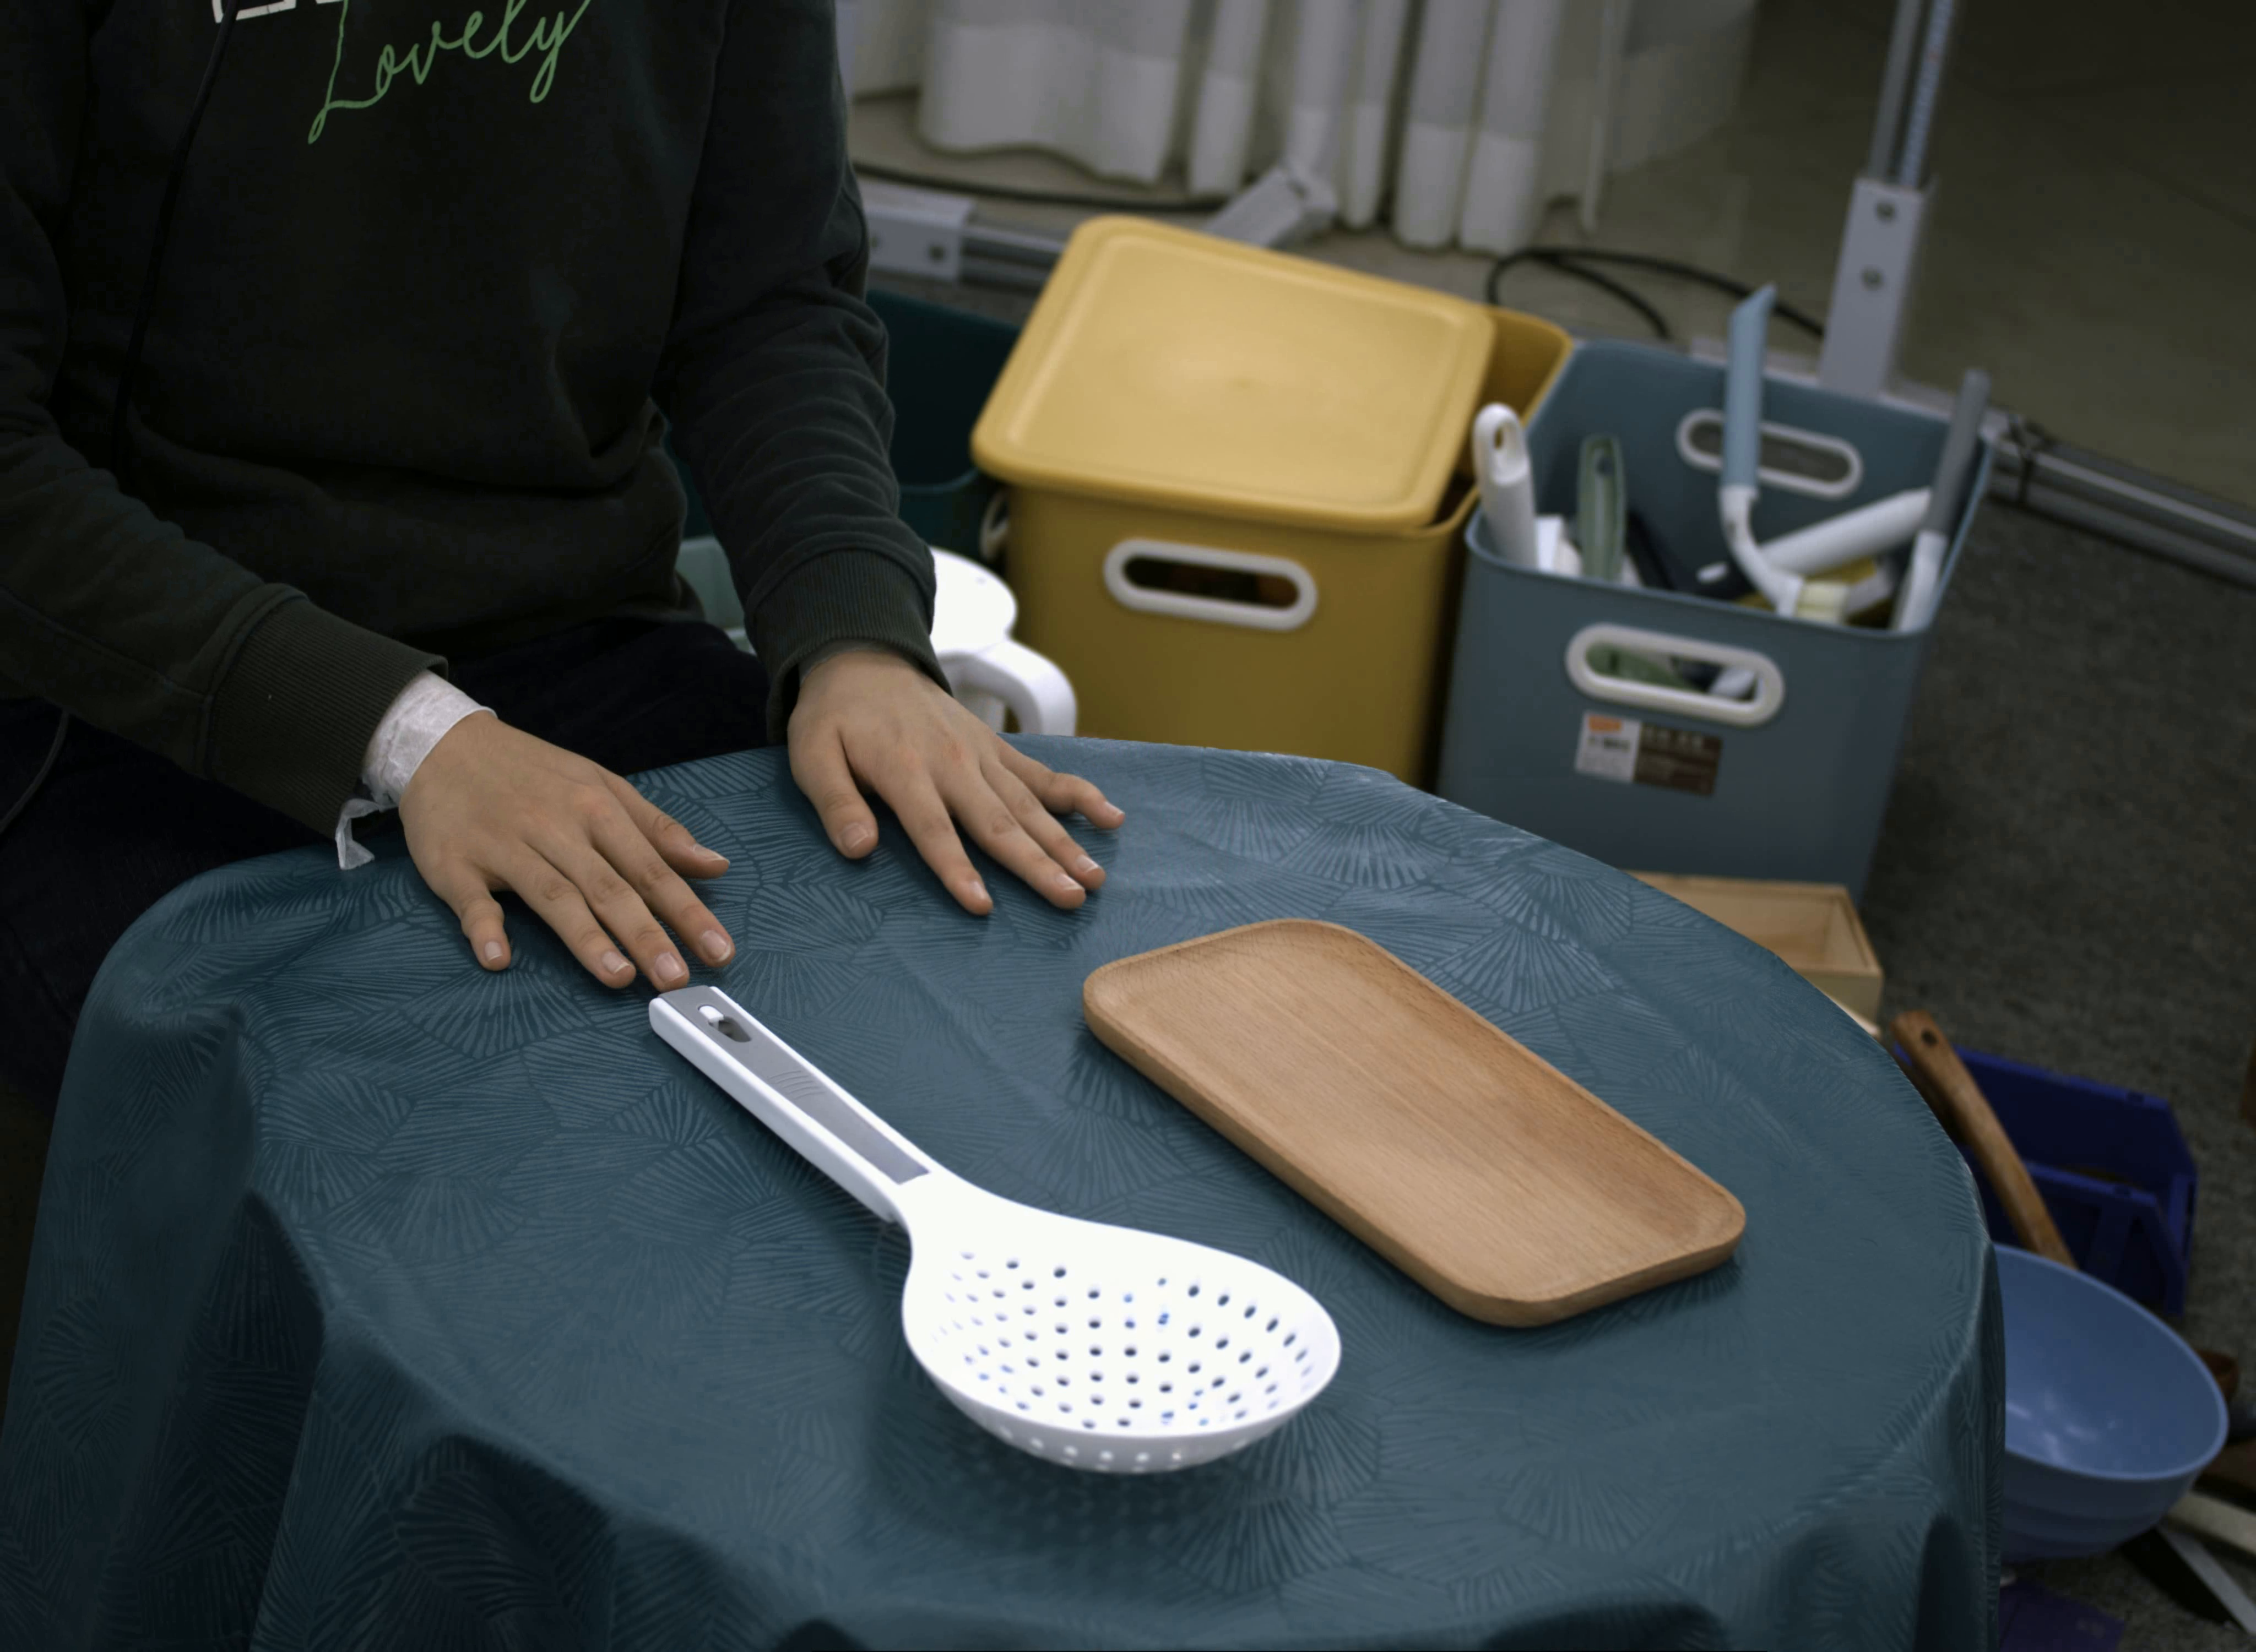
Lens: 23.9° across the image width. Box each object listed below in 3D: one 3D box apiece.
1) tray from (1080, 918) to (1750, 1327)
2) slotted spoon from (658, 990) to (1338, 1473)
[{"bbox_3d":[0.096,0.100,1.850,0.130,0.023,0.253,-12,31,-35],"label":"tray"},{"bbox_3d":[-0.062,0.125,1.732,0.135,0.045,0.353,-9,29,-32],"label":"slotted spoon"}]
